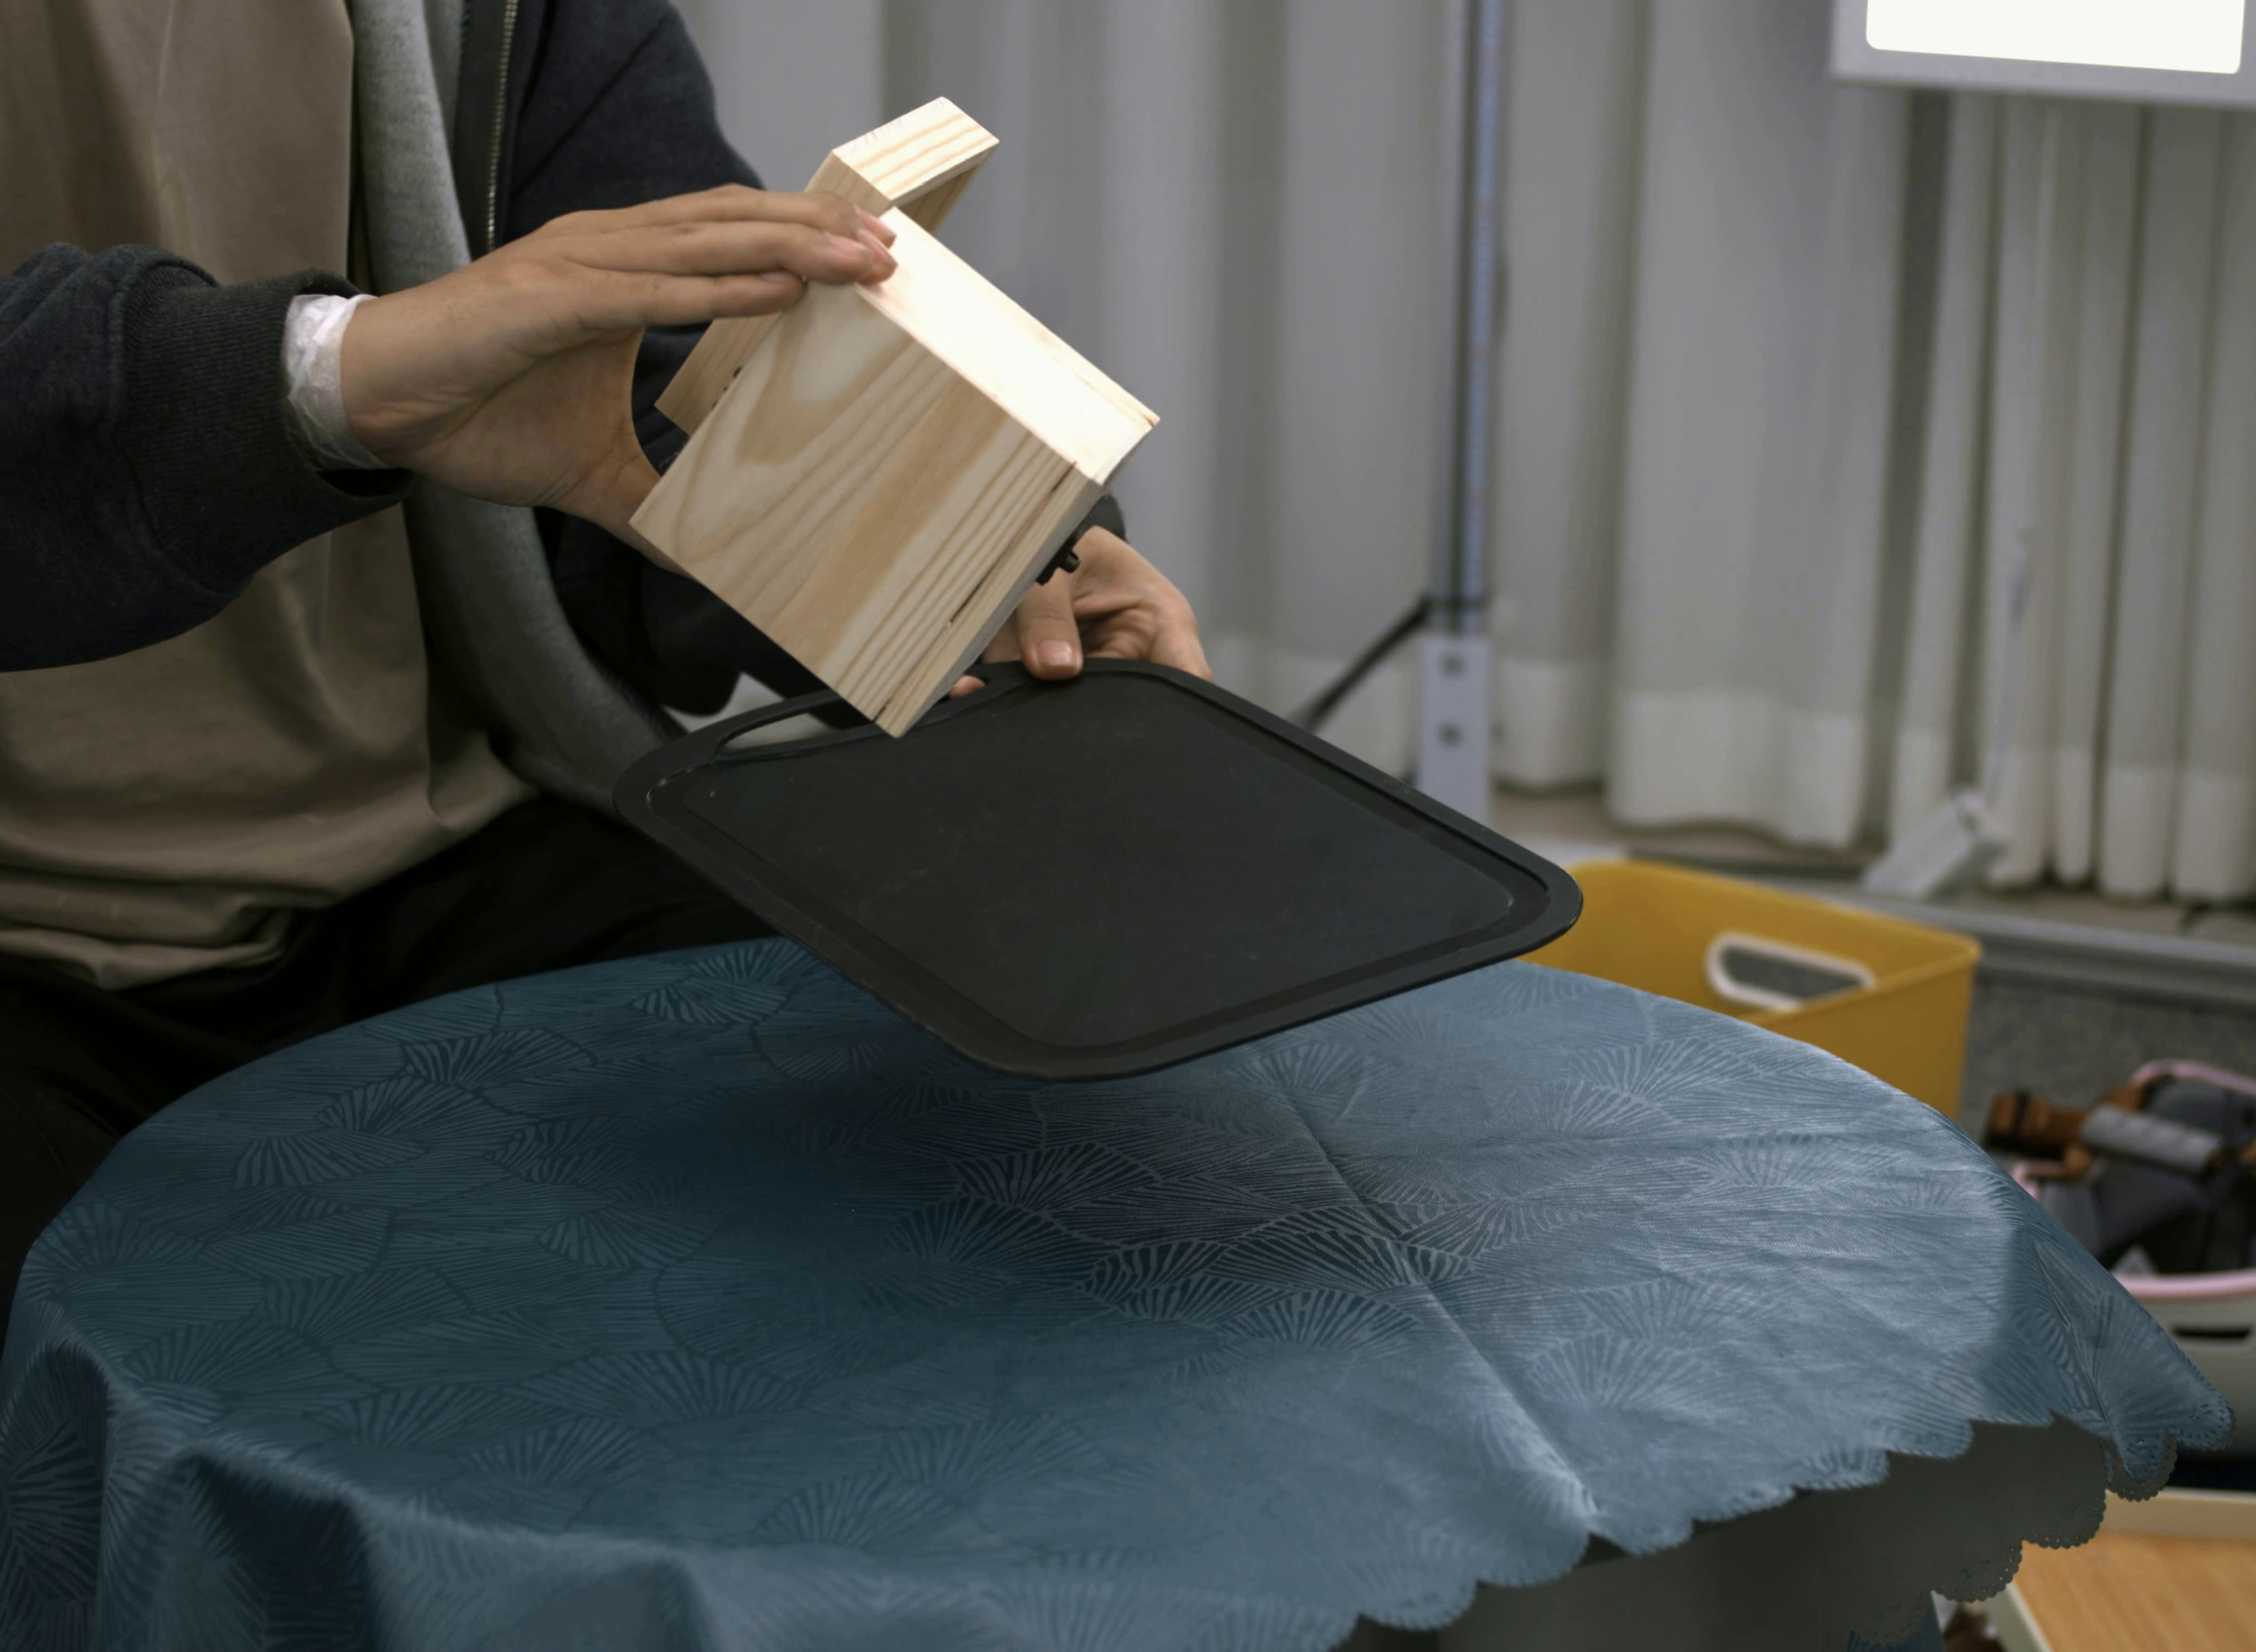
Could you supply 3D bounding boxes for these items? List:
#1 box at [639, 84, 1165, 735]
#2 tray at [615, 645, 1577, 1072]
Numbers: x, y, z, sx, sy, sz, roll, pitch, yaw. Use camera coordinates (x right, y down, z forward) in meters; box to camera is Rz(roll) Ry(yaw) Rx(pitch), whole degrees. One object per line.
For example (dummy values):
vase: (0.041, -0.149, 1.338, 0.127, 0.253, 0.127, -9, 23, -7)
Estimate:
box: (-0.059, -0.127, 1.572, 0.134, 0.103, 0.184, 38, 25, -1)
tray: (-0.021, 0.001, 1.639, 0.212, 0.010, 0.321, -16, 26, -27)
